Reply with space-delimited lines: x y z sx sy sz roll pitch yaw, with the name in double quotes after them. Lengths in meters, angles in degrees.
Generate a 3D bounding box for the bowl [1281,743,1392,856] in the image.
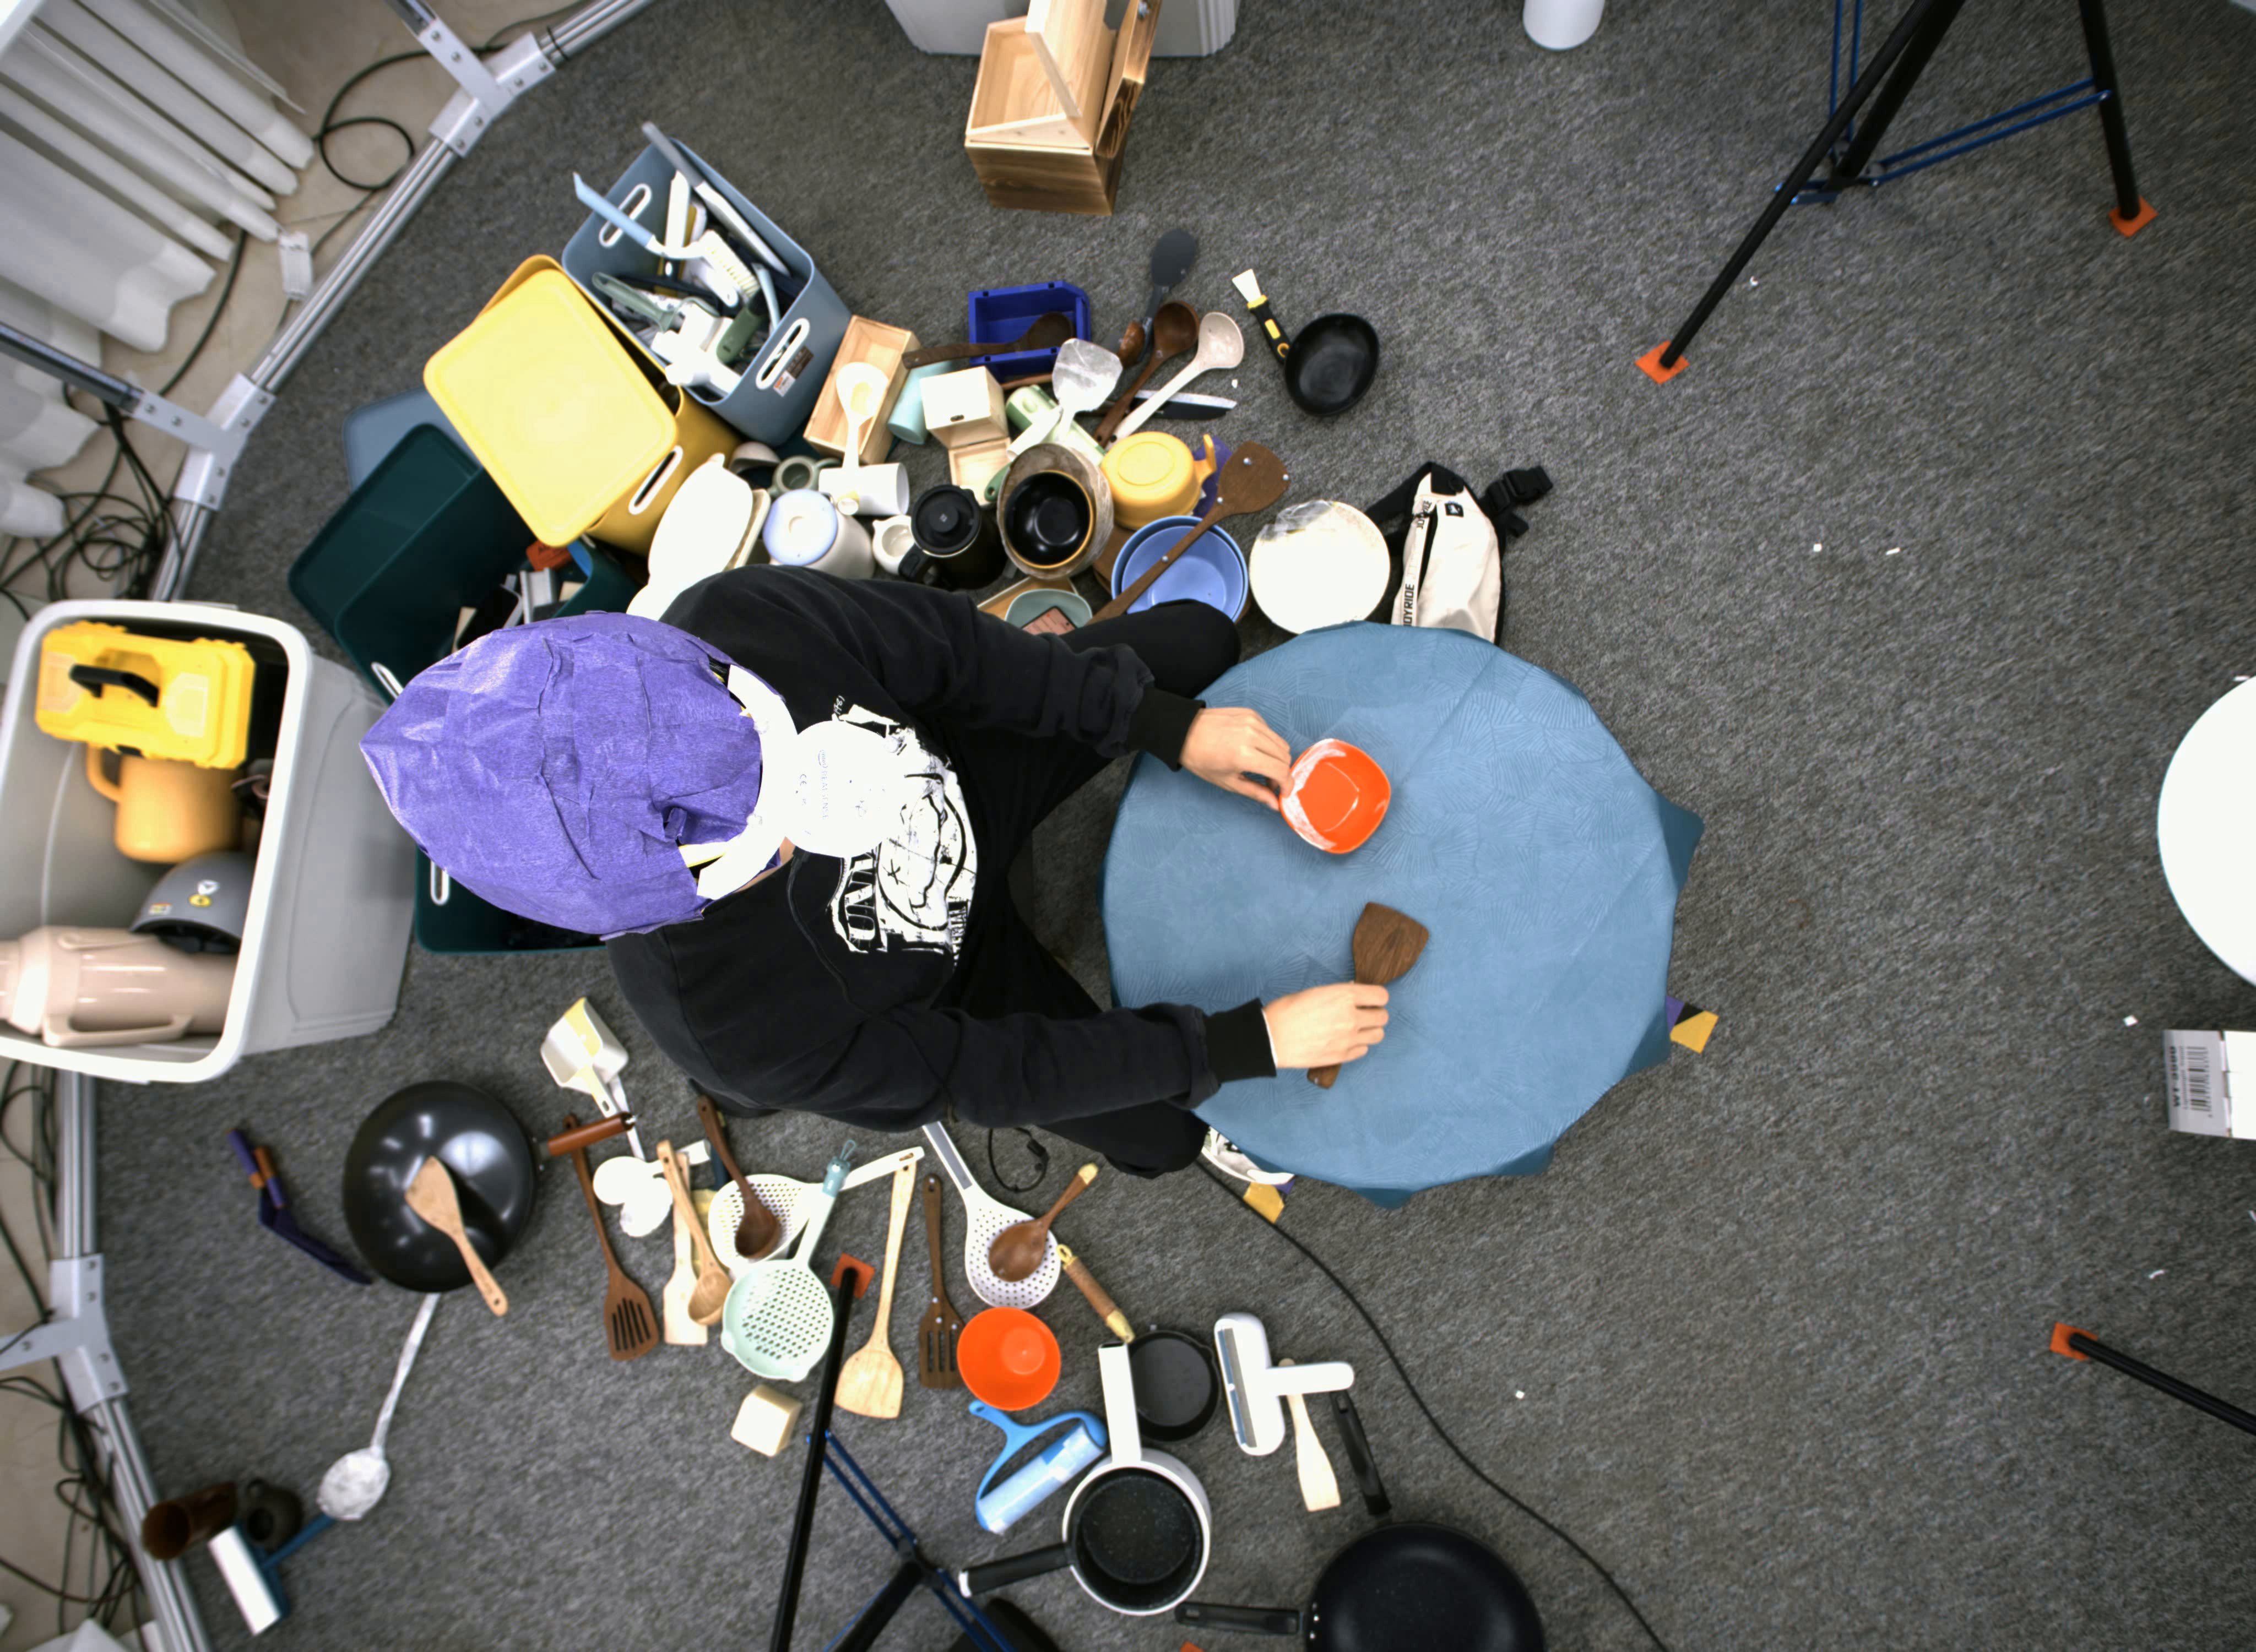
0.213 -0.029 1.448 0.119 0.051 0.119 0 93 -7 "bowl"

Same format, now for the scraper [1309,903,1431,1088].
0.240 0.174 1.420 0.076 0.011 0.207 27 68 10 "scraper"
